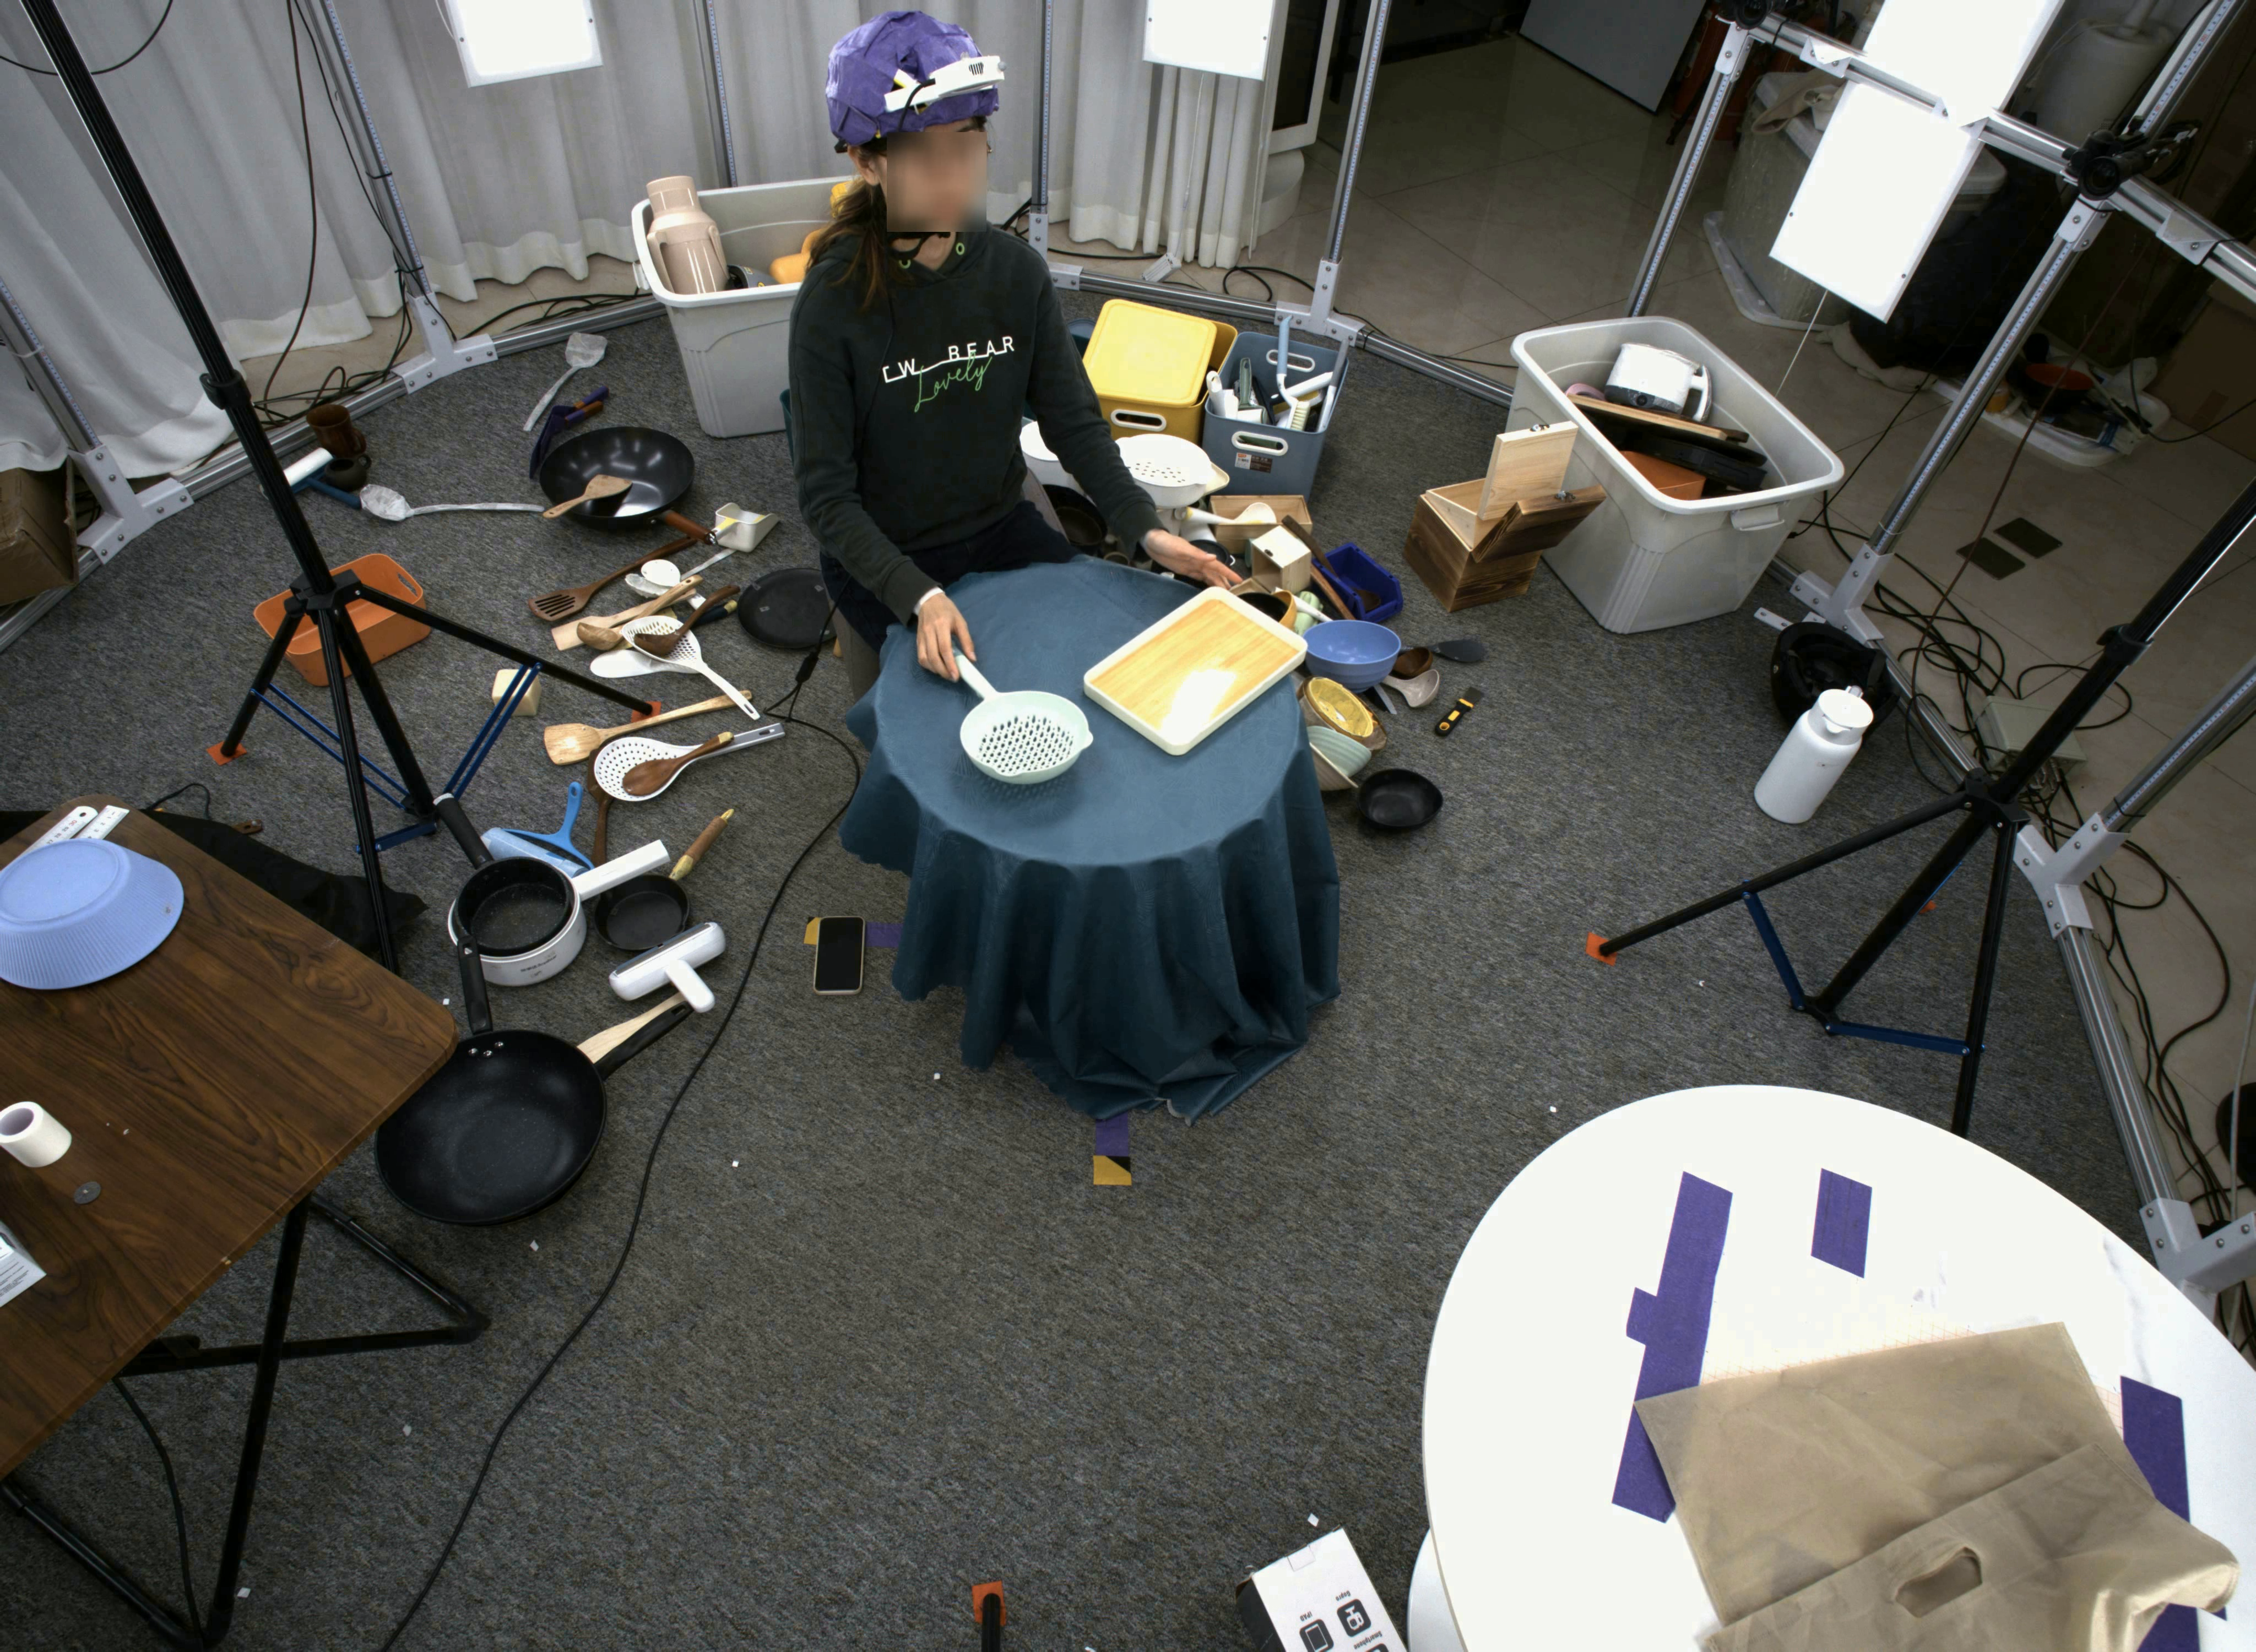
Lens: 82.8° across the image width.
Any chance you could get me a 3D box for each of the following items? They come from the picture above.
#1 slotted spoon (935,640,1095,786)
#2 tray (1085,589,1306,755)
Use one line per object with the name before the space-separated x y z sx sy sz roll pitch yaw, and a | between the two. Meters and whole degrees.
slotted spoon | -0.186 -0.174 1.781 0.170 0.073 0.366 -22 54 -22
tray | 0.100 -0.231 1.875 0.194 0.027 0.303 36 56 25
